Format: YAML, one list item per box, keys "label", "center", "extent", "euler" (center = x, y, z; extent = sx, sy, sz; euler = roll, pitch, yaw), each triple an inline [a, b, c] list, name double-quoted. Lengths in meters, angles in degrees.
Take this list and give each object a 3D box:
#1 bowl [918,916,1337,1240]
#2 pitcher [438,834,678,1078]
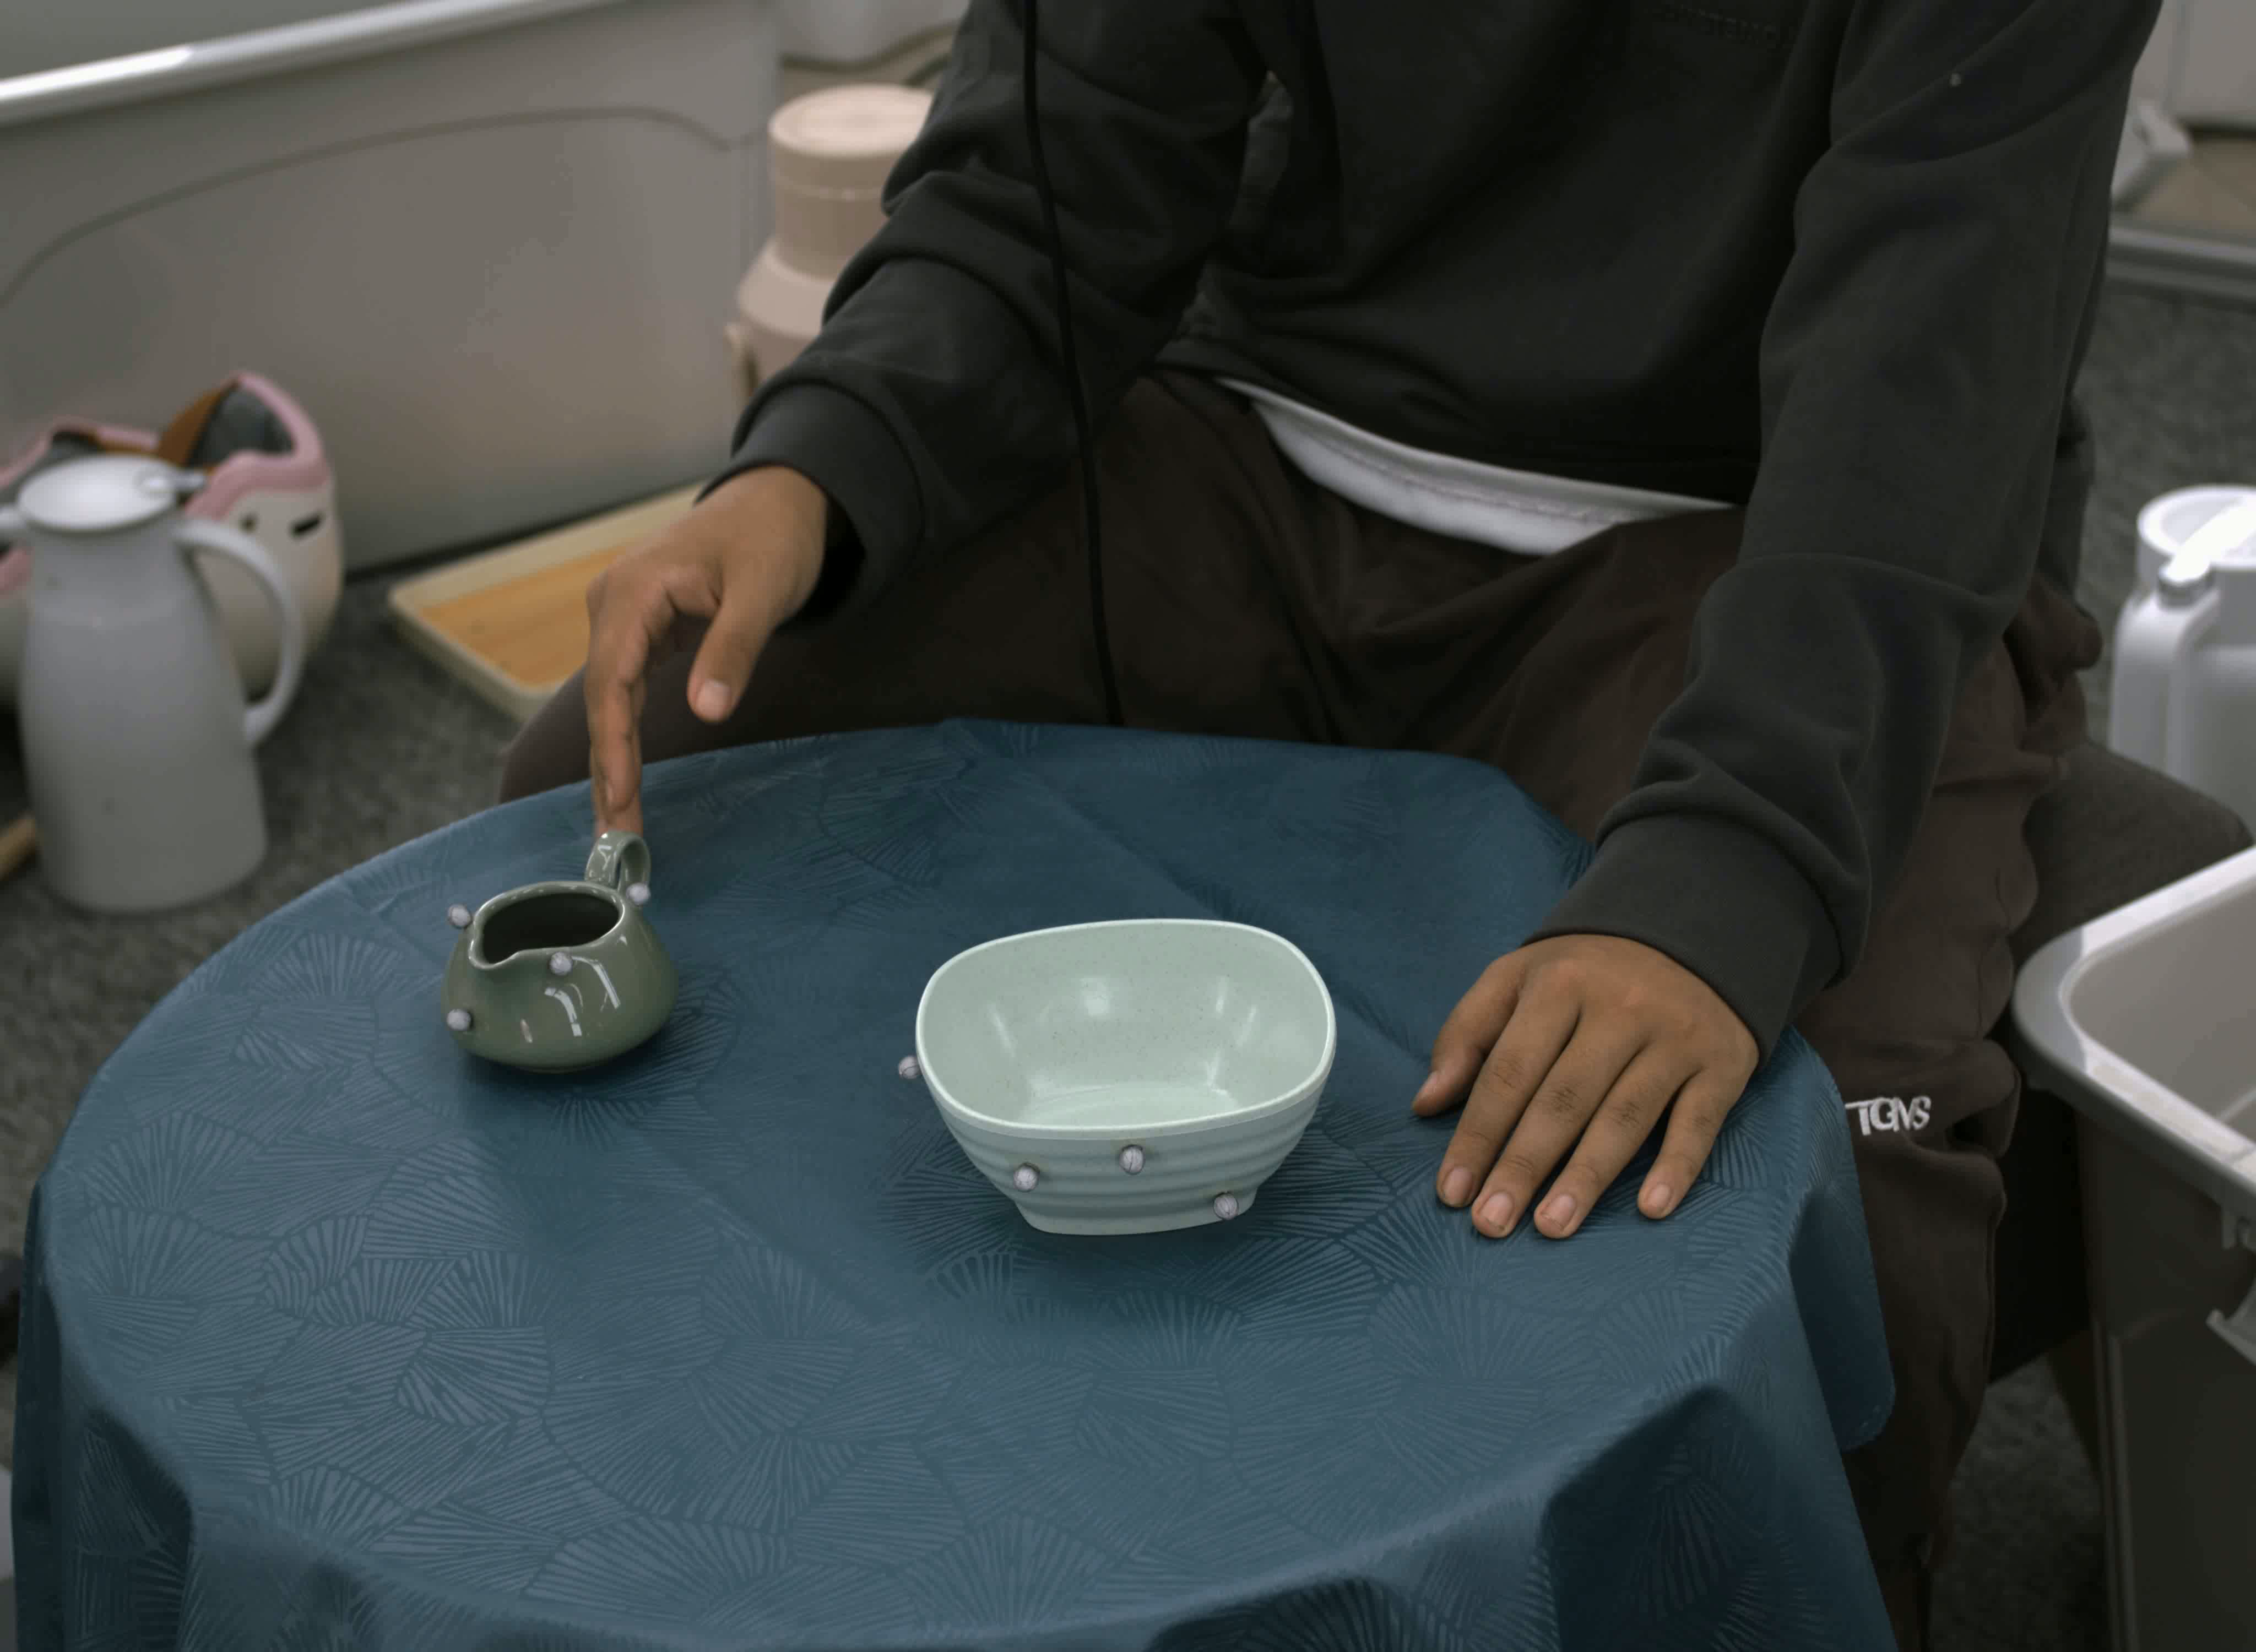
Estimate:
- label: "bowl"
  center: [0.001, 0.090, 1.867]
  extent: [0.151, 0.058, 0.154]
  euler: [-2, 29, 2]
- label: "pitcher"
  center: [-0.197, 0.048, 1.966]
  extent: [0.083, 0.055, 0.114]
  euler: [8, 28, 20]
